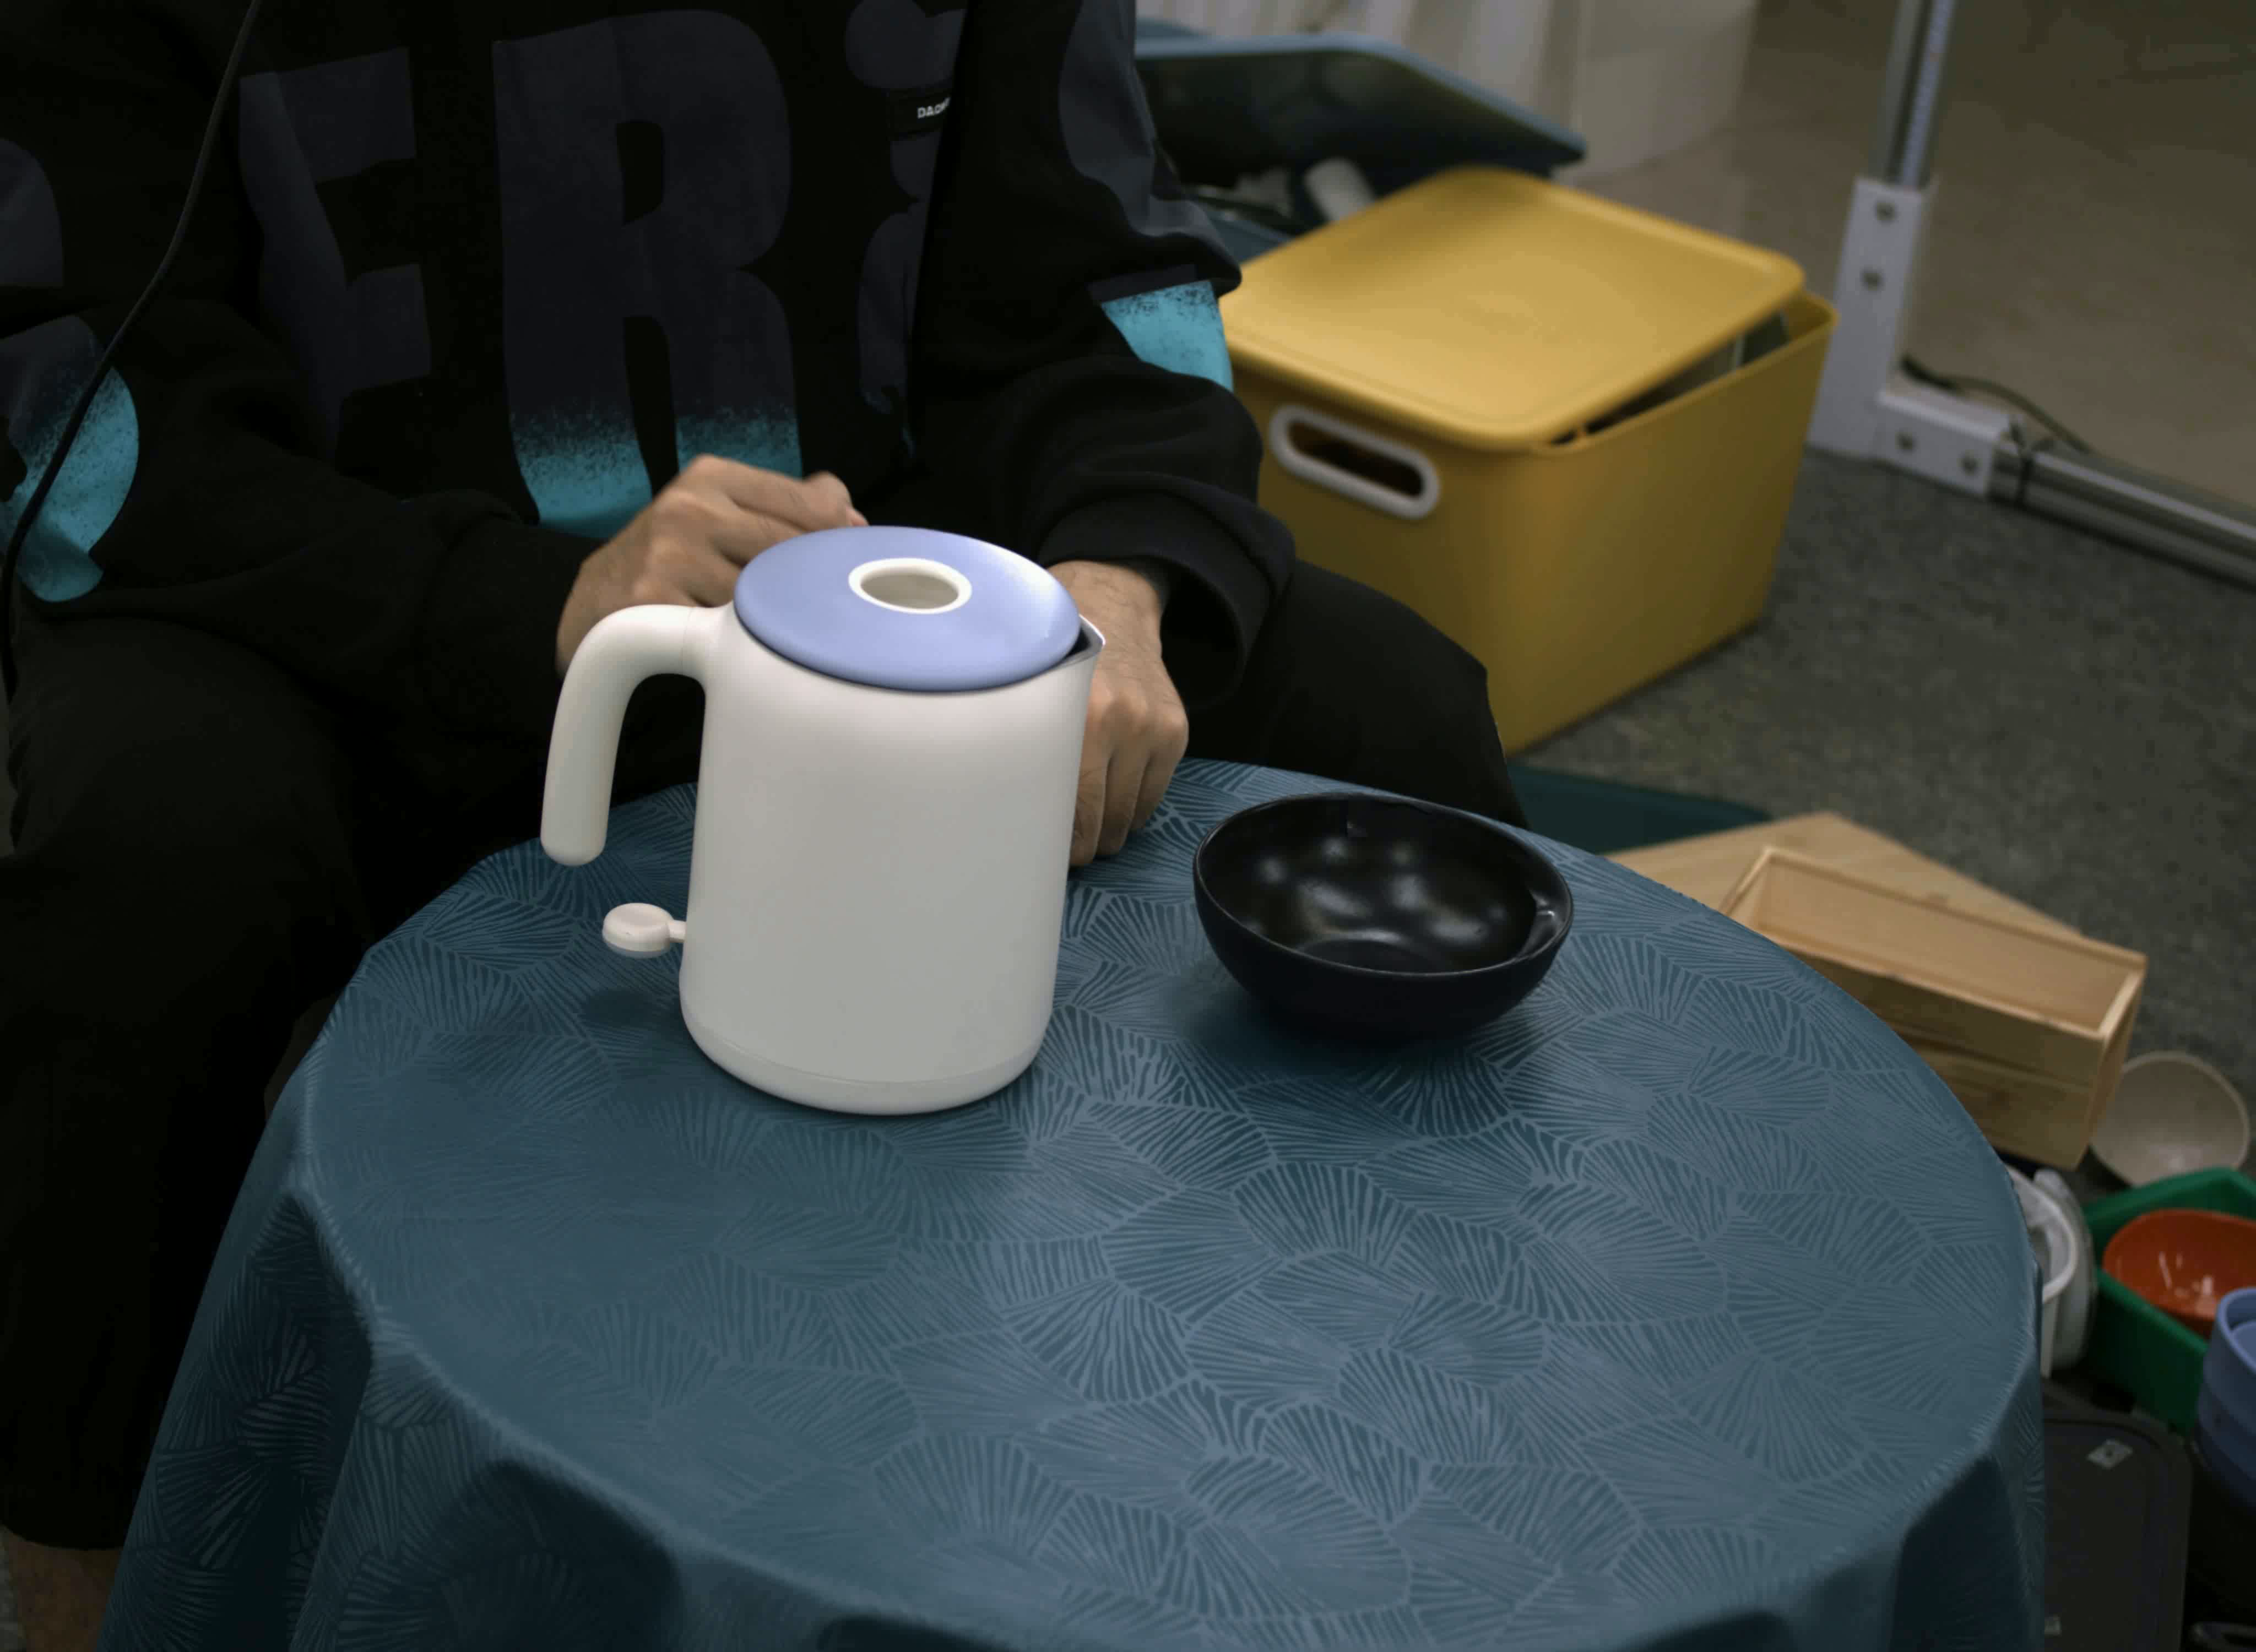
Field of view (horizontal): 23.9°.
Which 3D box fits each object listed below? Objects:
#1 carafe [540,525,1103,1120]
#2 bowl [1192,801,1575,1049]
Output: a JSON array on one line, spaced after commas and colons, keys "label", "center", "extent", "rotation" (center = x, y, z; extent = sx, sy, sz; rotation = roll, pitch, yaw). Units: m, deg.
[{"label": "carafe", "center": [-0.108, -0.004, 1.840], "extent": [0.191, 0.182, 0.133], "rotation": [6, 25, 3]}, {"label": "bowl", "center": [0.090, 0.043, 1.926], "extent": [0.139, 0.049, 0.141], "rotation": [4, 25, -2]}]
